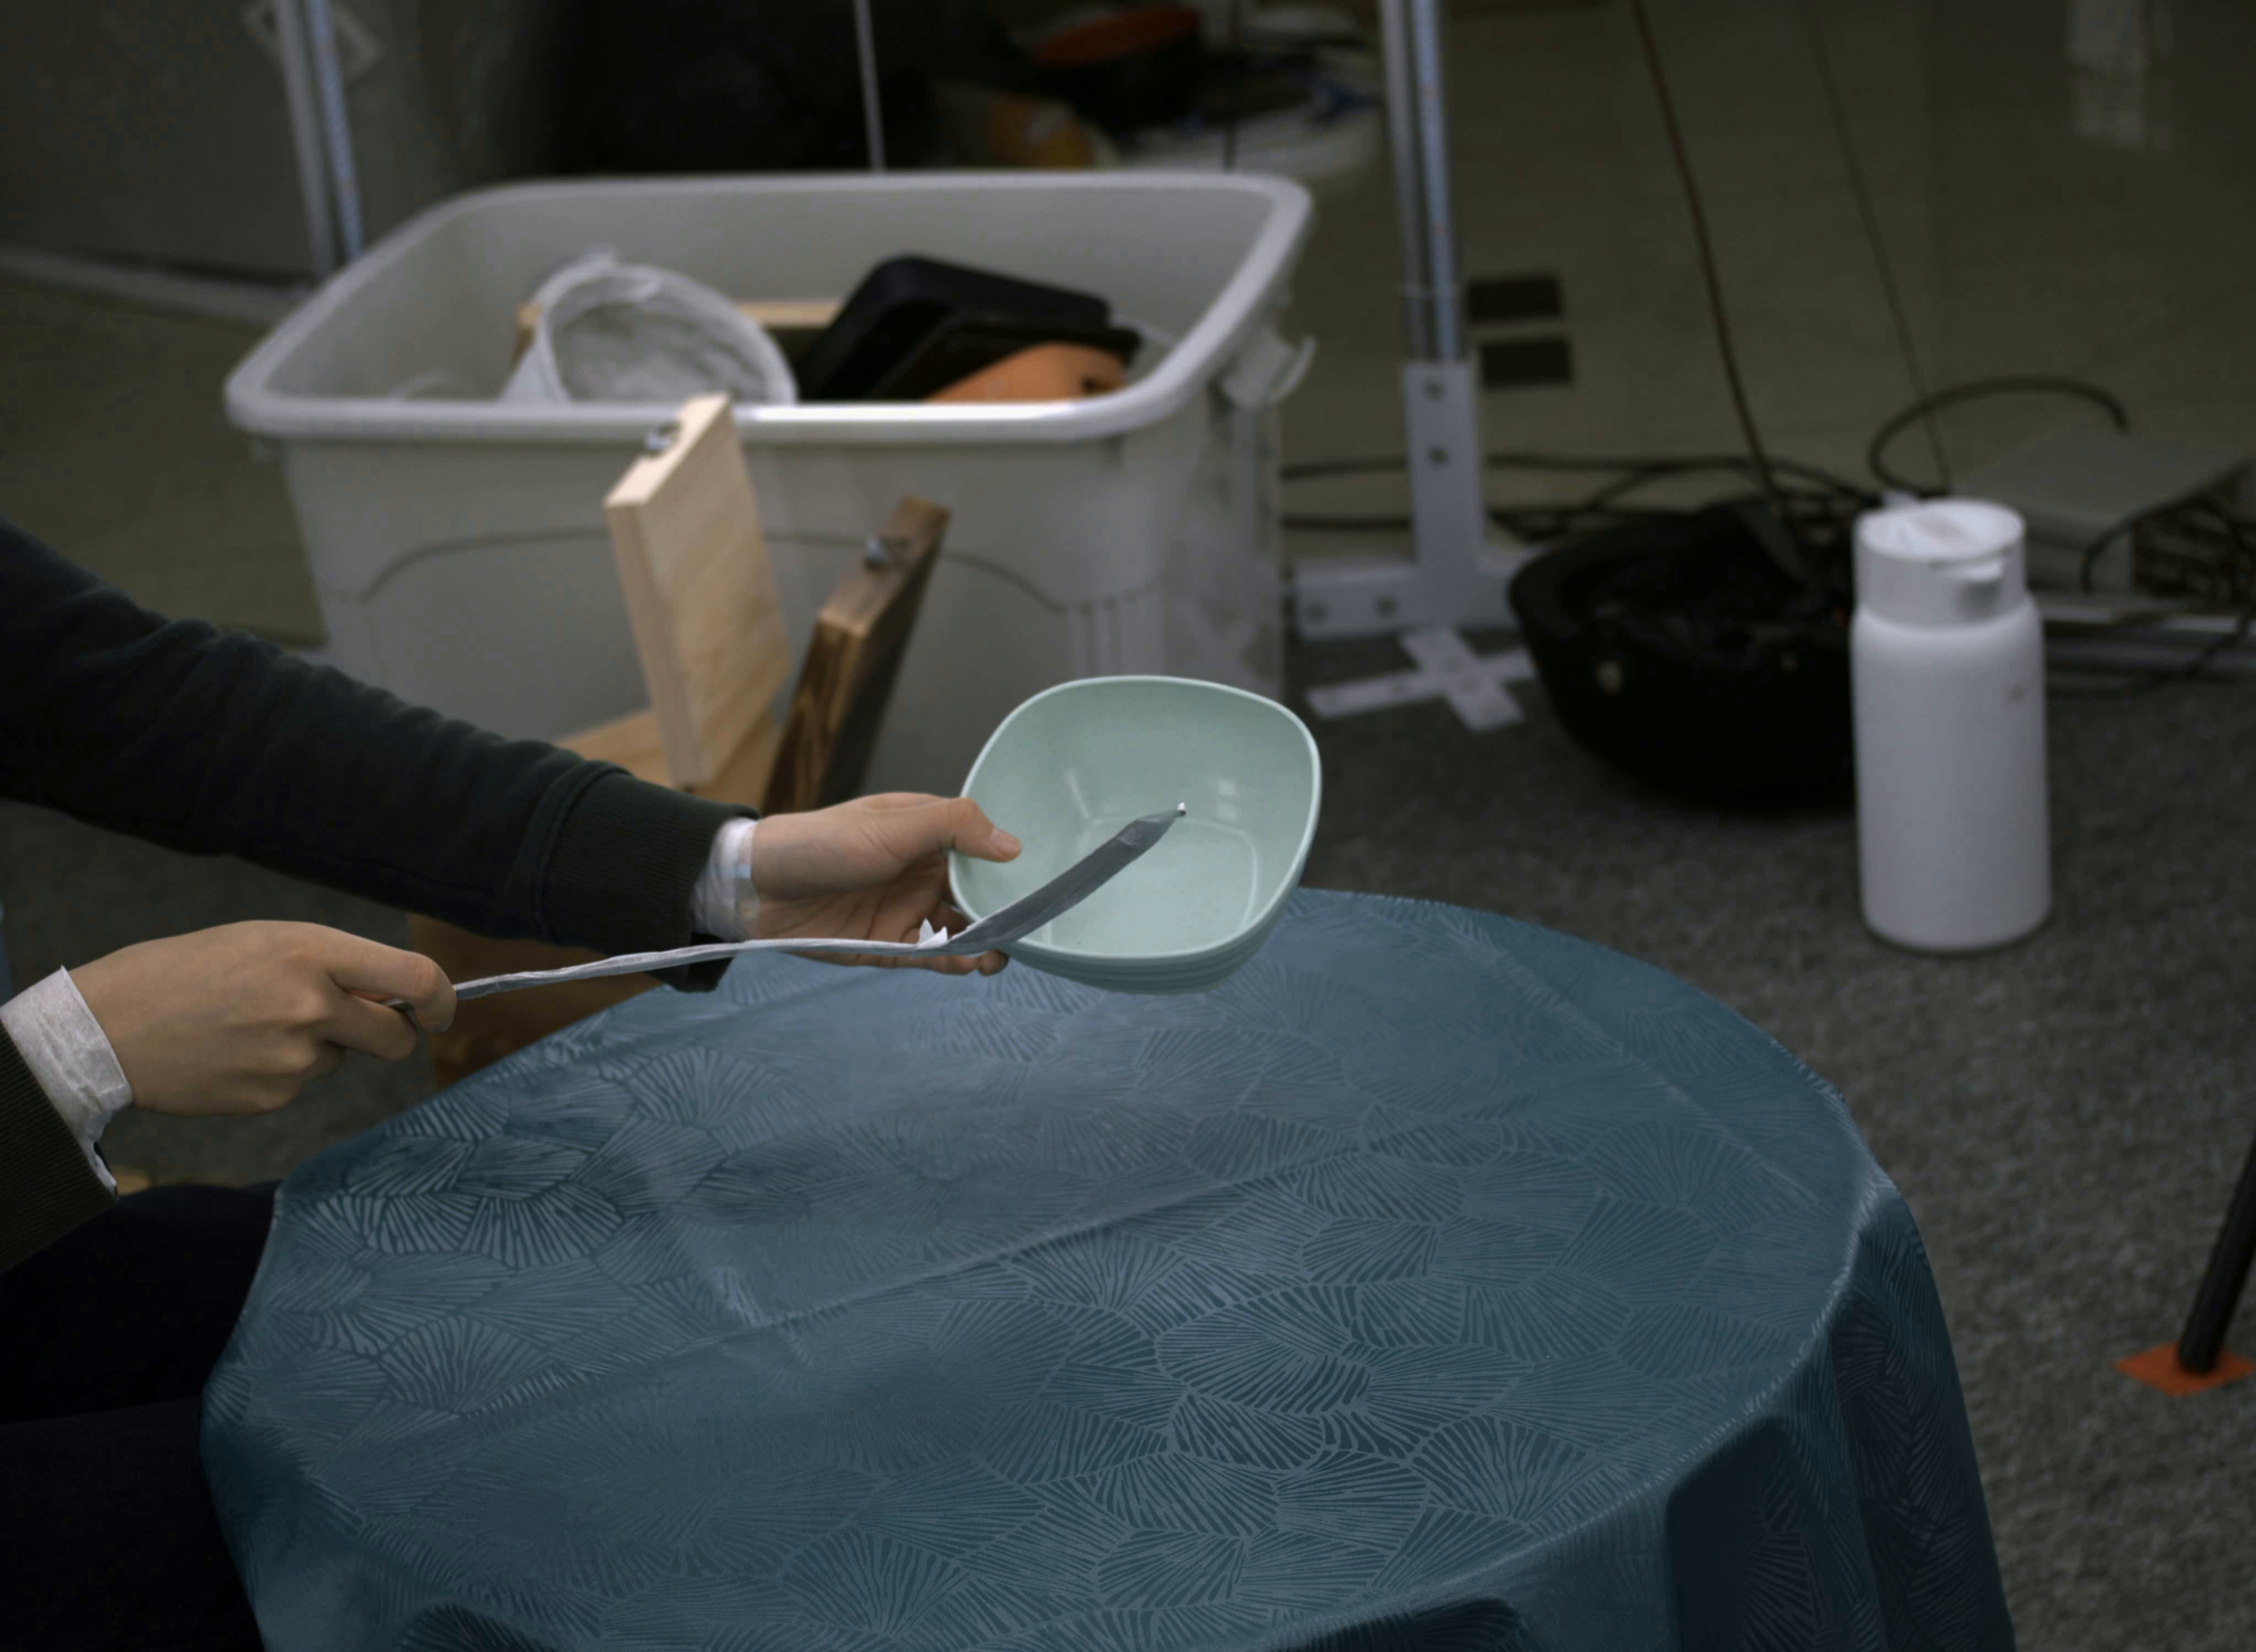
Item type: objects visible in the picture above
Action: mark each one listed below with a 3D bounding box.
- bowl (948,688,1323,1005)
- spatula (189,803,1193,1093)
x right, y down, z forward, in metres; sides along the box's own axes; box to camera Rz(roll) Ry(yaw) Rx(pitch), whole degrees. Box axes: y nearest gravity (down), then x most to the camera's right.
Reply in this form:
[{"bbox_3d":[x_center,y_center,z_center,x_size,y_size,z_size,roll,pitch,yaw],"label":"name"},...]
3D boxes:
[{"bbox_3d":[0.006,0.017,2.157,0.151,0.060,0.149,-4,49,5],"label":"bowl"},{"bbox_3d":[-0.153,0.043,1.987,0.364,0.045,0.099,-9,-3,-3],"label":"spatula"}]
